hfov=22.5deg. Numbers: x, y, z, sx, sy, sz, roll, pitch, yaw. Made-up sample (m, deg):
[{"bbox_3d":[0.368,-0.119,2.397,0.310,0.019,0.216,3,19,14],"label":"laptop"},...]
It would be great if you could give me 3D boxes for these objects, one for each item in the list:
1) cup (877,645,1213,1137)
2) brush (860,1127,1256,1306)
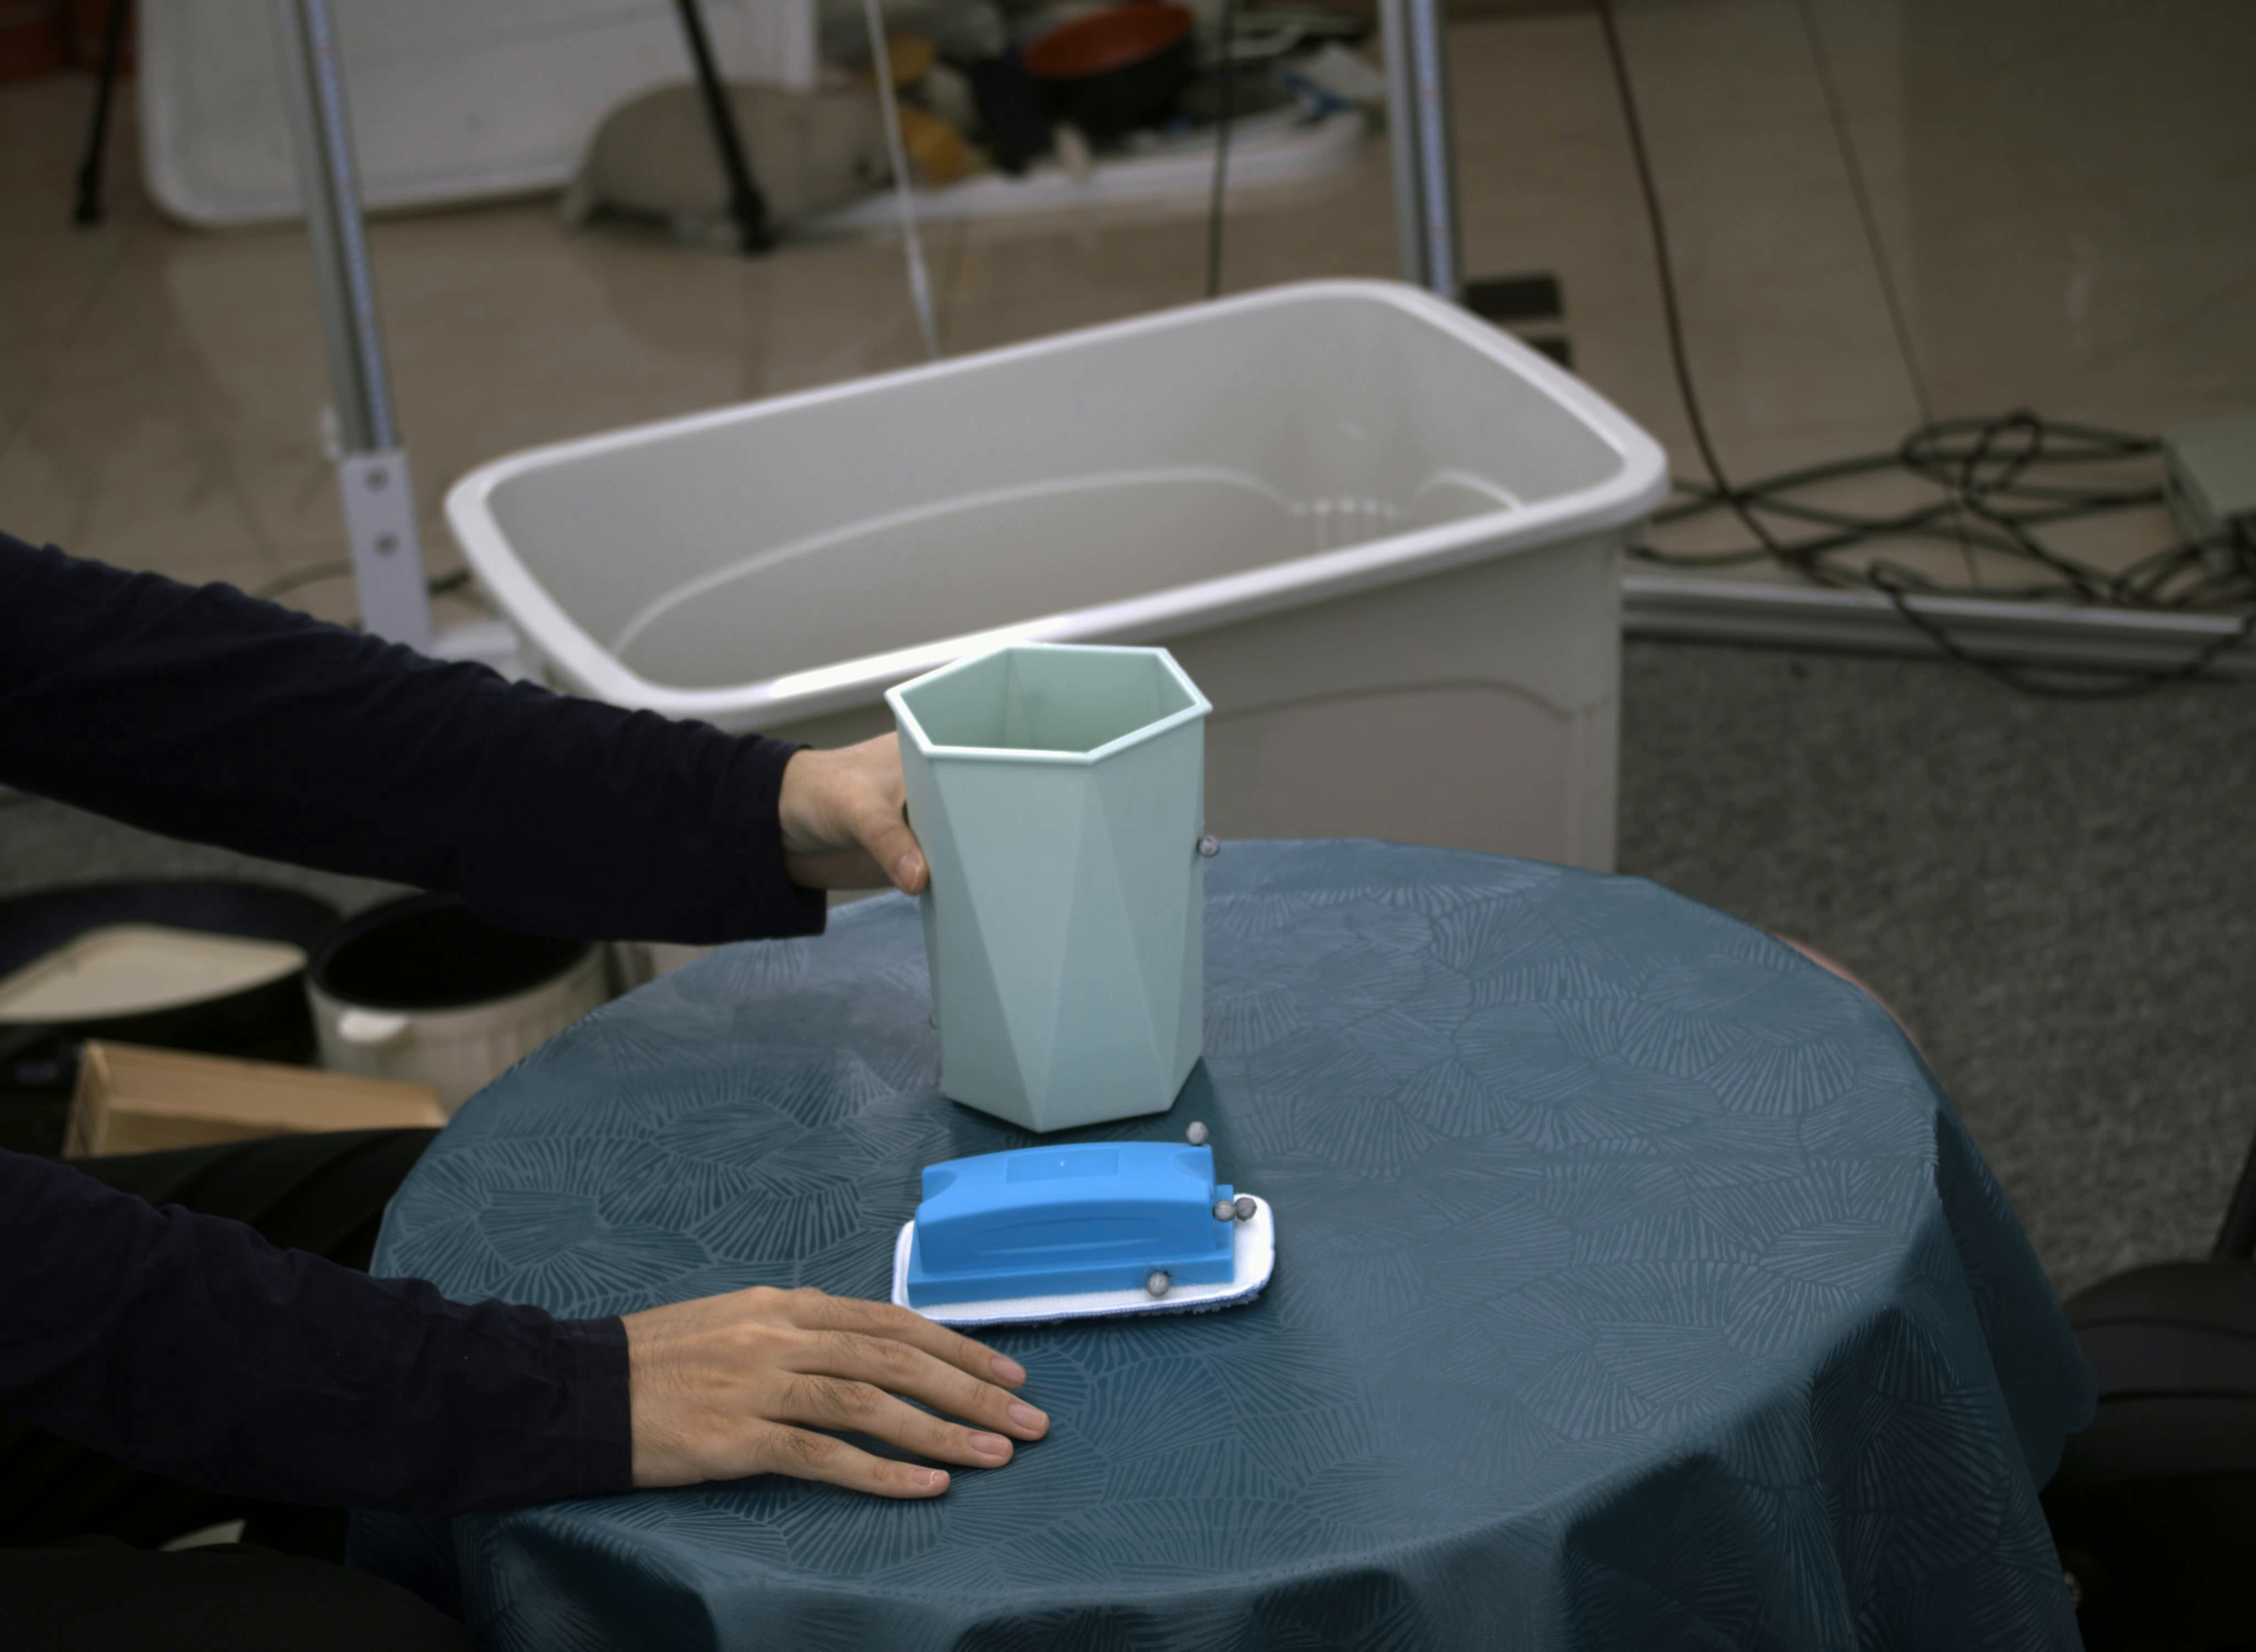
[{"bbox_3d":[-0.025,0.025,2.200,0.115,0.165,0.129,-13,25,-12],"label":"cup"},{"bbox_3d":[-0.026,0.141,2.077,0.144,0.057,0.083,-2,22,5],"label":"brush"}]
